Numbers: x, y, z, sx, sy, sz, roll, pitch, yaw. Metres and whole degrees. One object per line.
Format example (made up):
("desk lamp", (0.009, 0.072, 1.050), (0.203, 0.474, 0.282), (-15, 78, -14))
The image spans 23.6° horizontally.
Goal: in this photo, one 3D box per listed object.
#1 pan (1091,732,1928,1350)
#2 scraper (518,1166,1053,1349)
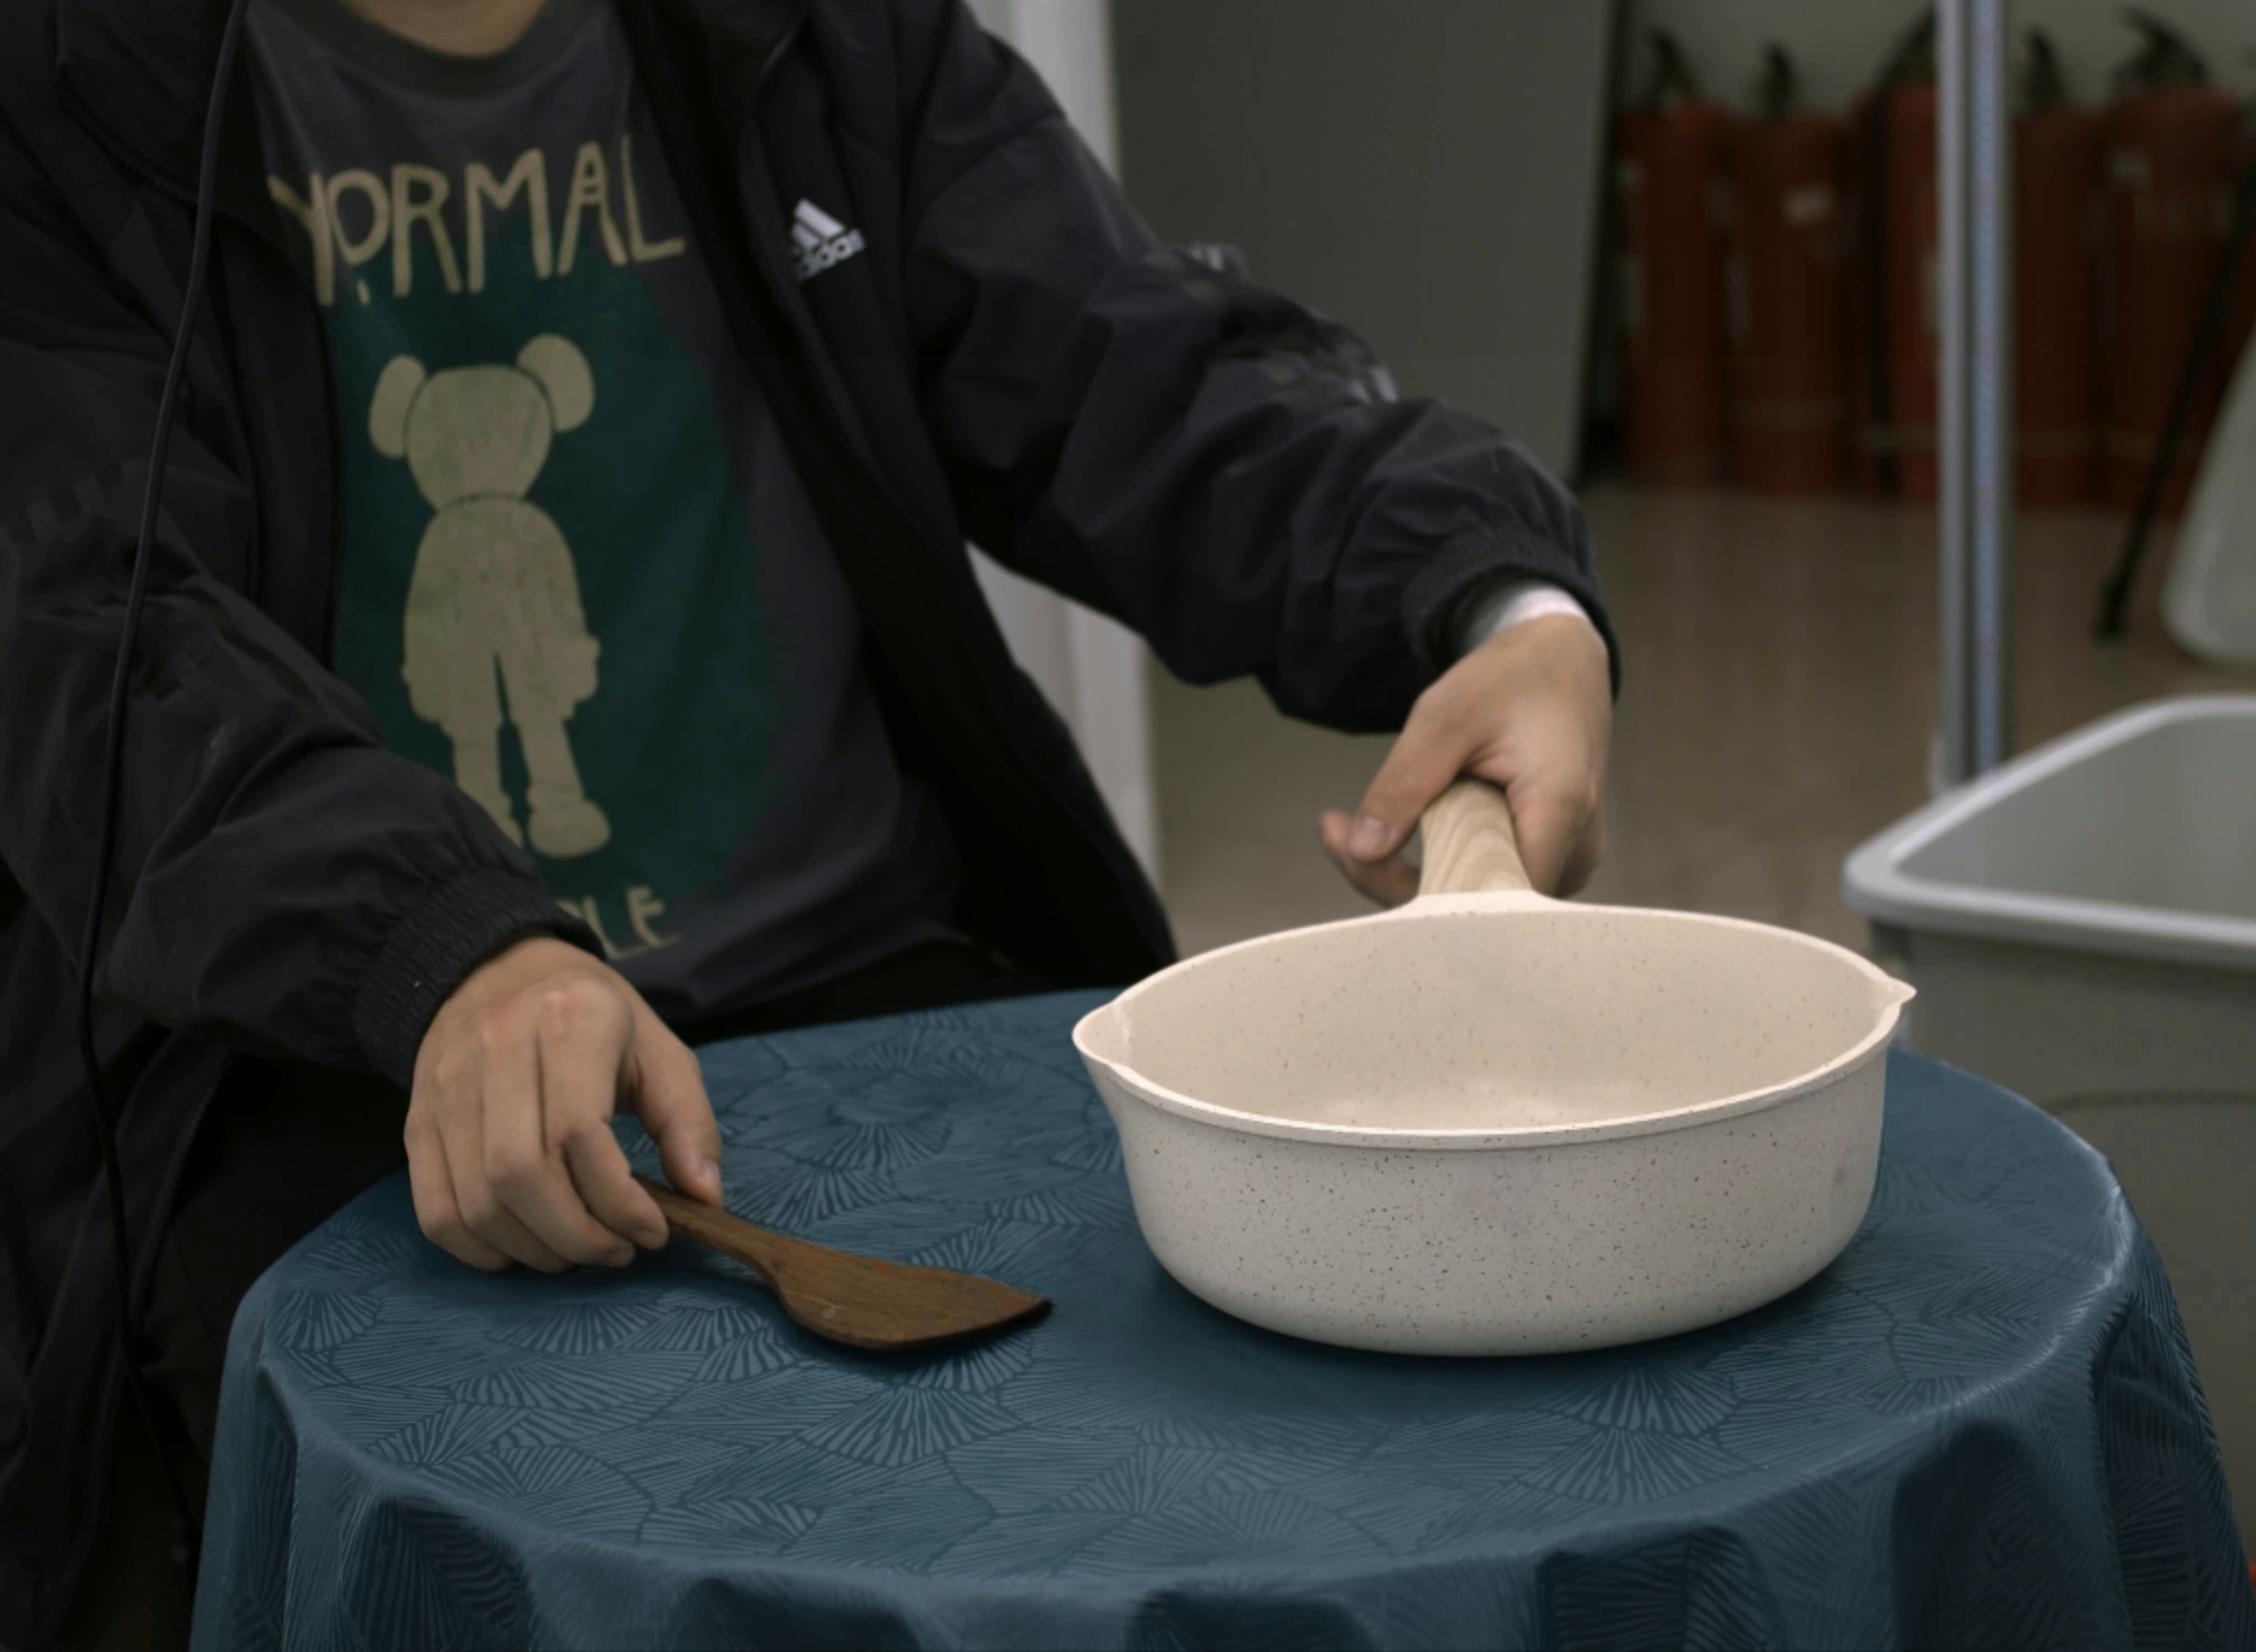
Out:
("pan", (0.121, 0.065, 1.758), (0.260, 0.103, 0.435), (-5, 13, 2))
("scraper", (-0.117, 0.135, 1.704), (0.213, 0.011, 0.074), (15, 16, 42))
